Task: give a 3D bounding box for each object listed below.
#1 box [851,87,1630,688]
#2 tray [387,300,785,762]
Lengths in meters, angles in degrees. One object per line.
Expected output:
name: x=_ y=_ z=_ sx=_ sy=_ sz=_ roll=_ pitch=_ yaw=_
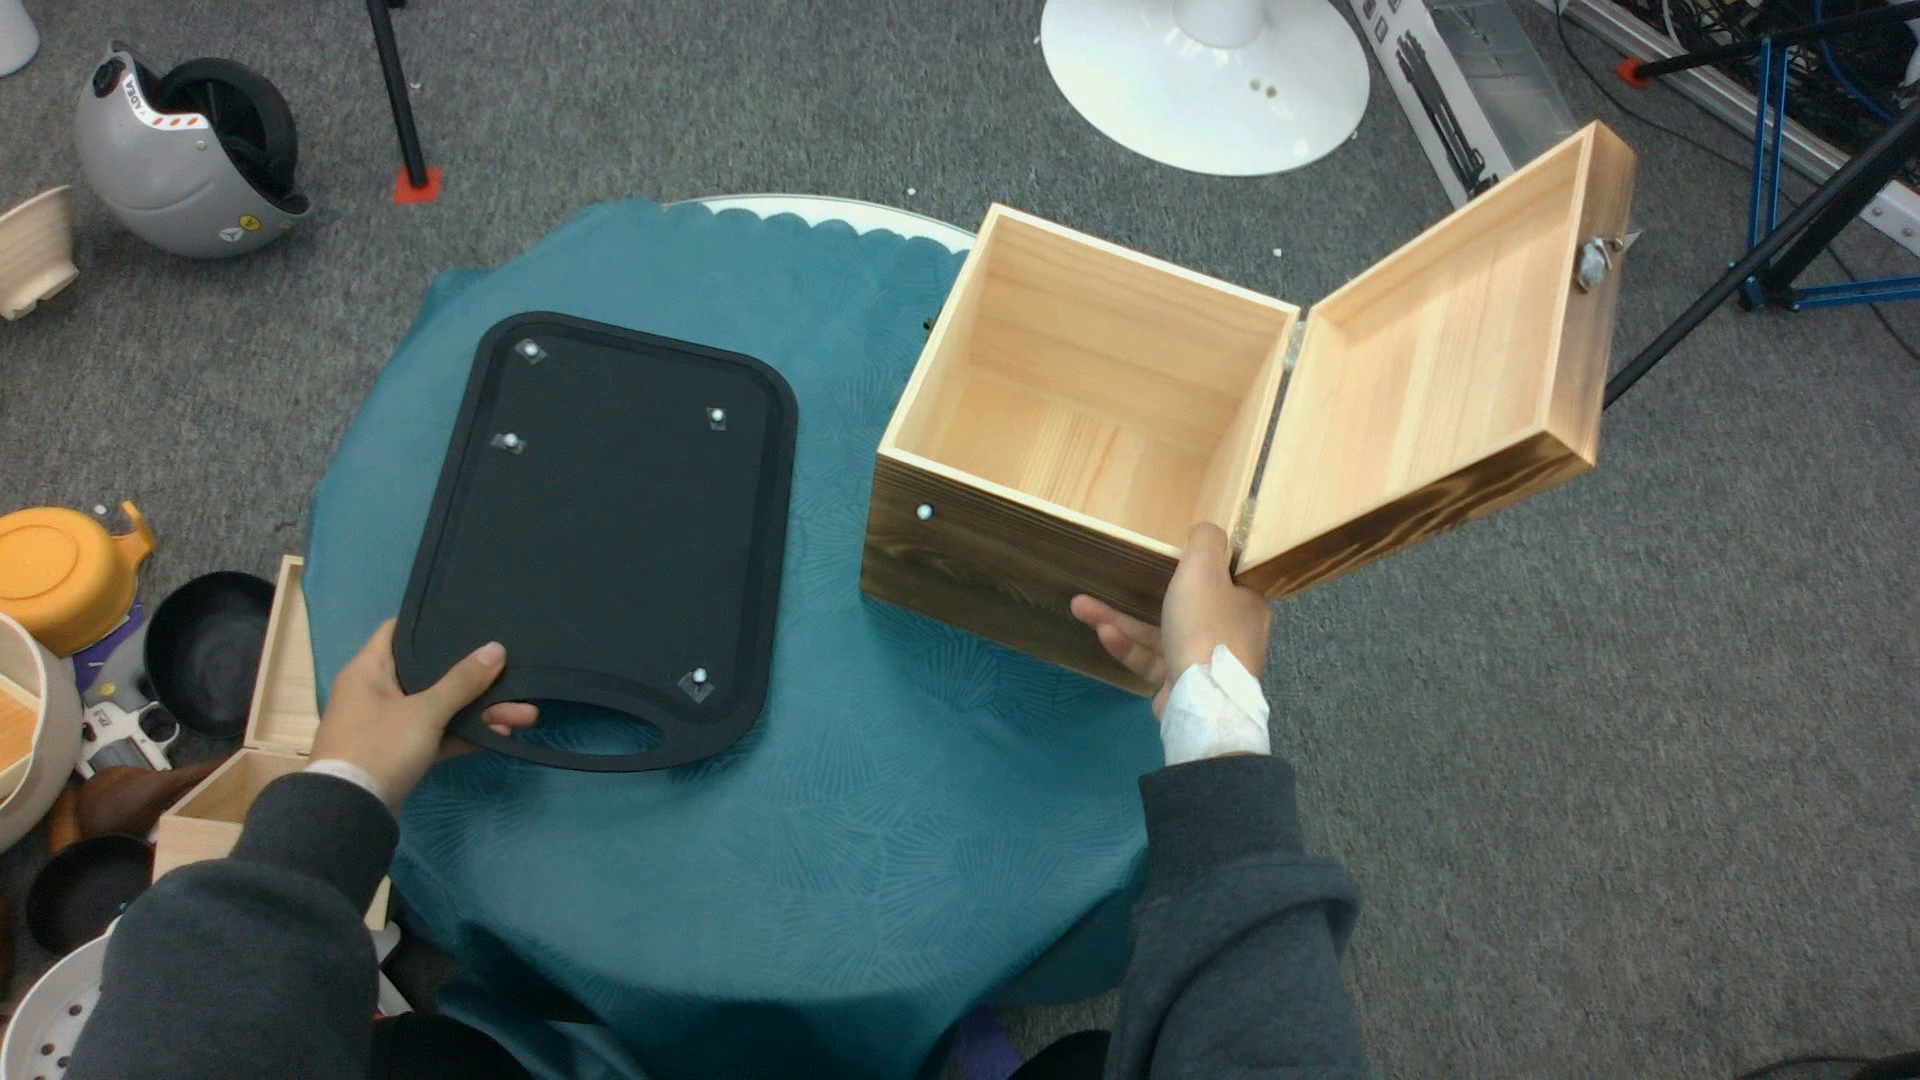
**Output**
box: x=0.126 y=-0.093 z=0.777 sx=0.322 sy=0.373 sz=0.210 roll=20 pitch=59 yaw=2
tray: x=-0.219 y=-0.015 z=0.850 sx=0.211 sy=0.010 sz=0.327 roll=11 pitch=55 yaw=-15
